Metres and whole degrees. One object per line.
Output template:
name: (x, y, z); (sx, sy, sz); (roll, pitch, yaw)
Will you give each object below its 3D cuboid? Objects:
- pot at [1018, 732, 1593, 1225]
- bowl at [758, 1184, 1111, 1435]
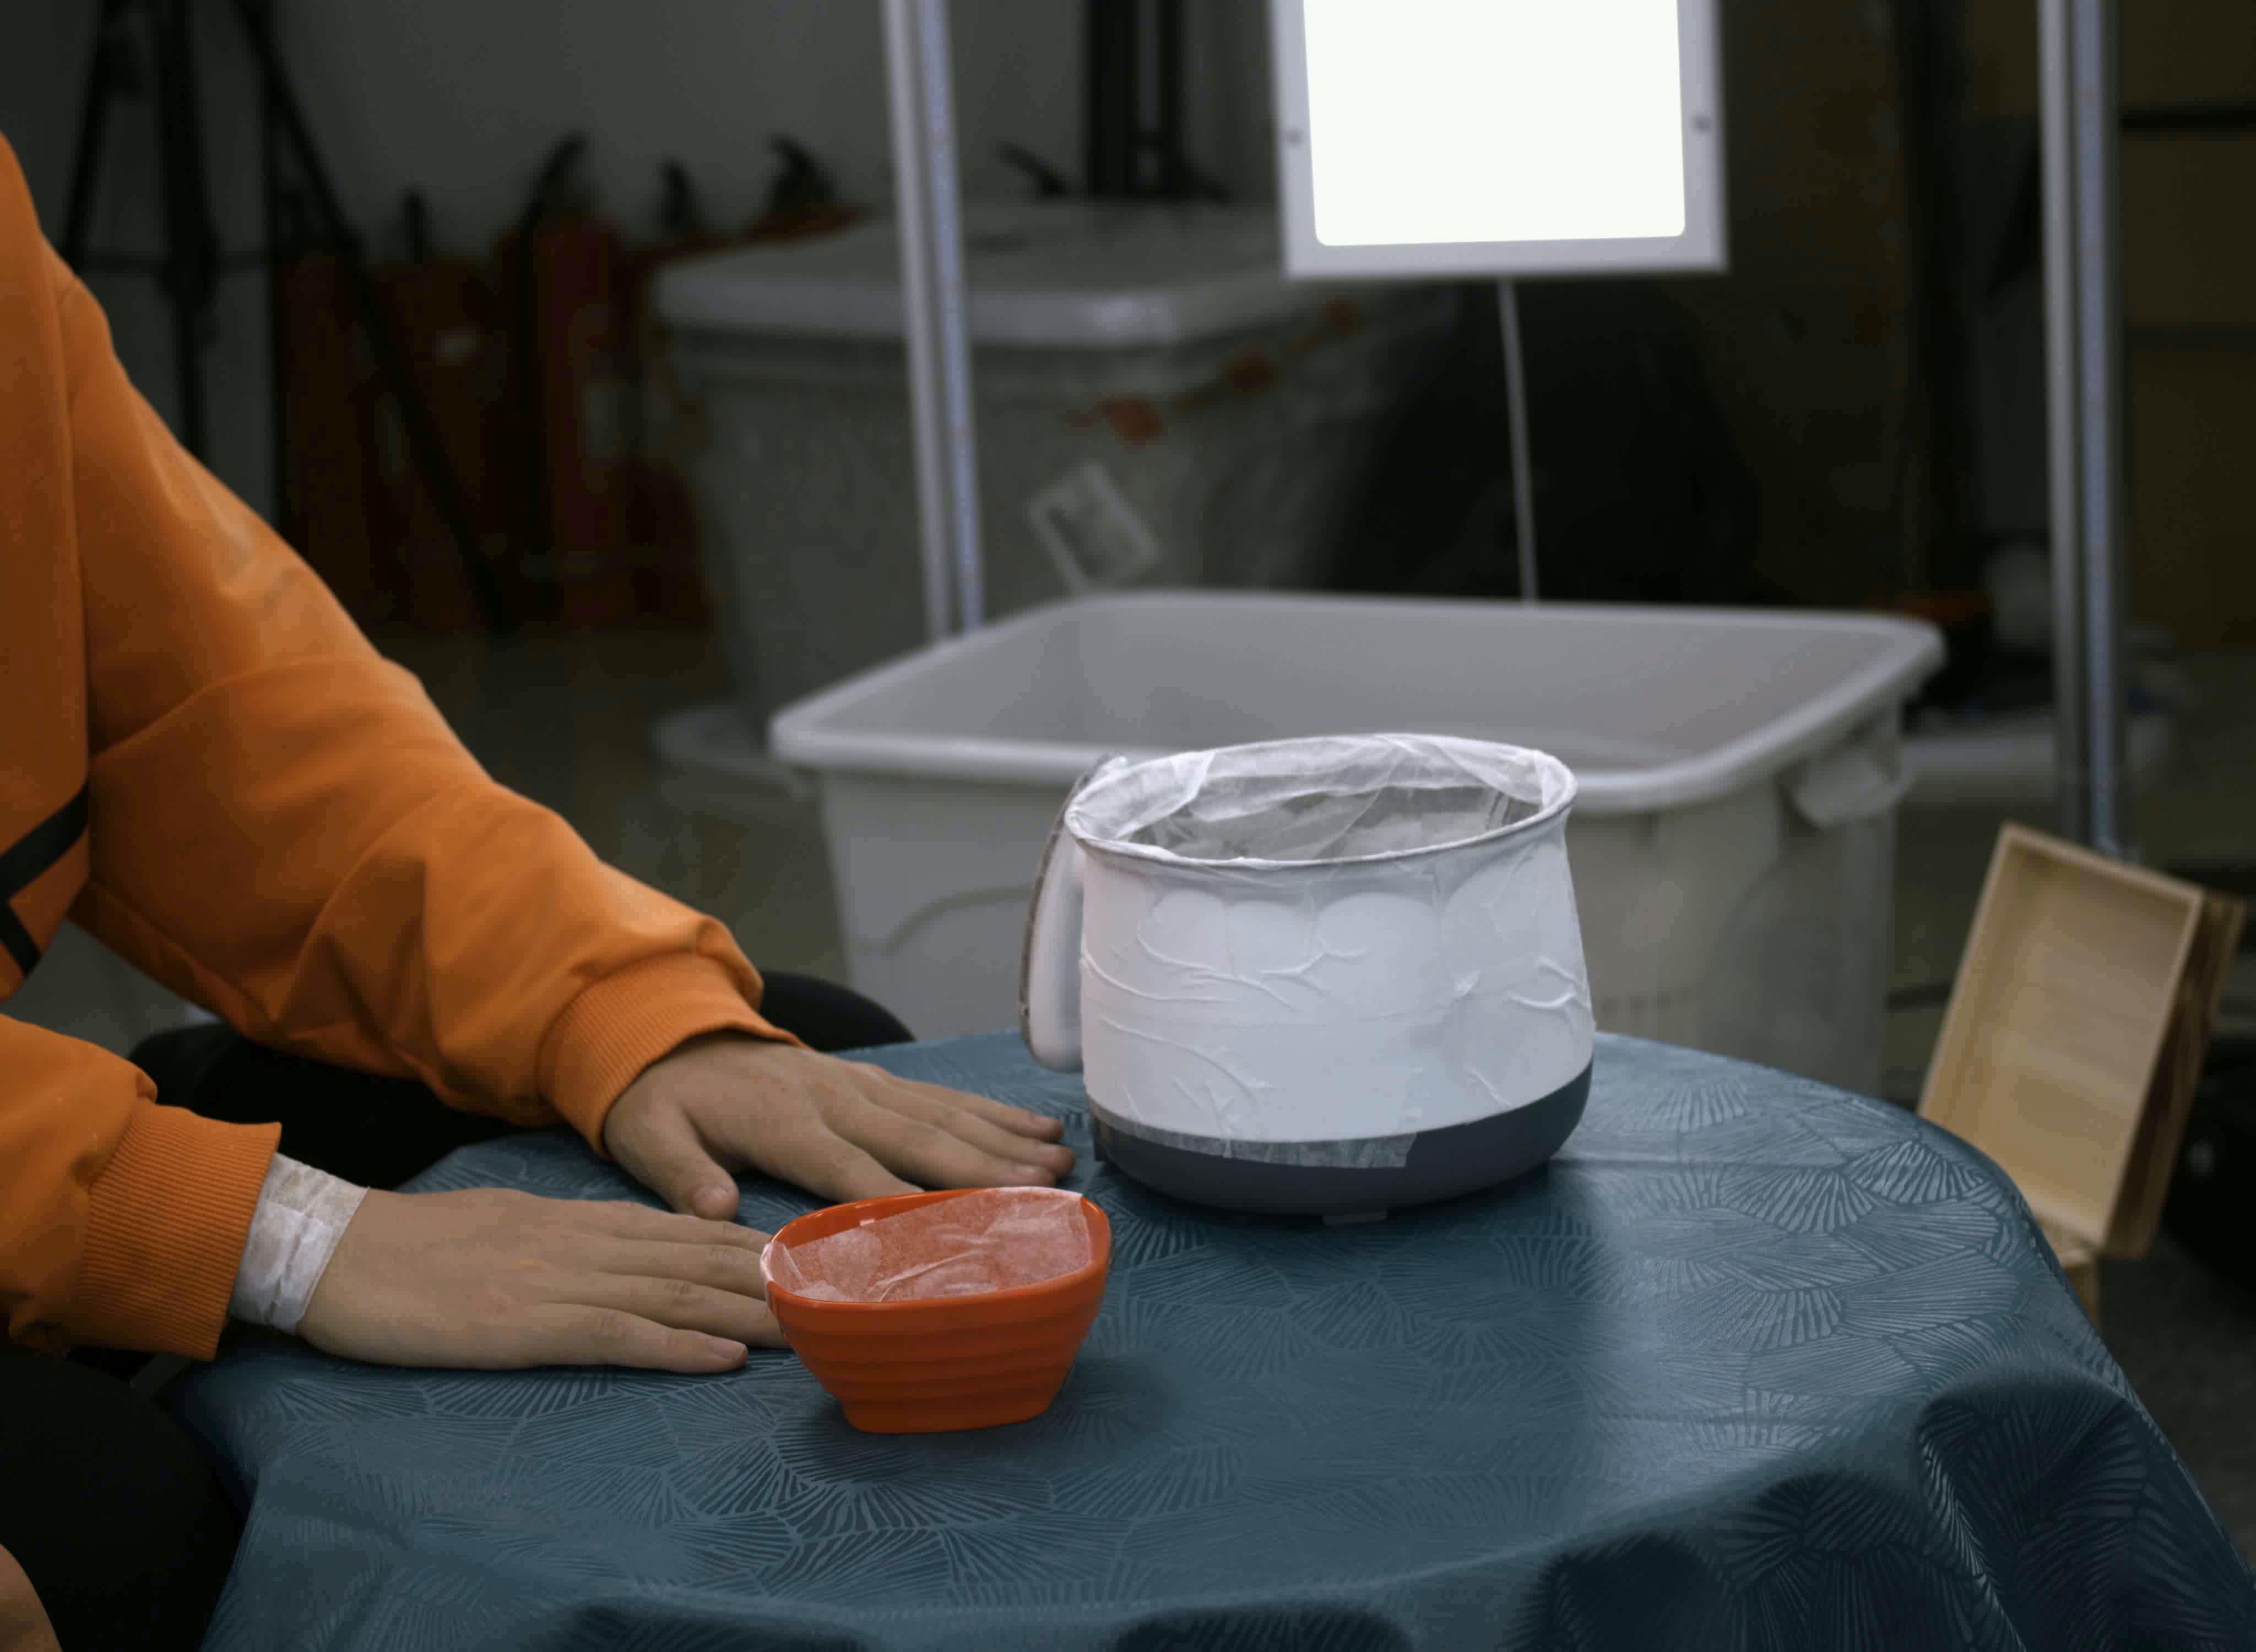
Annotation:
pot: (0.050, 0.047, 1.911); (0.239, 0.137, 0.174); (9, 19, 43)
bowl: (-0.058, 0.152, 1.707); (0.118, 0.051, 0.119); (-4, 15, 0)
